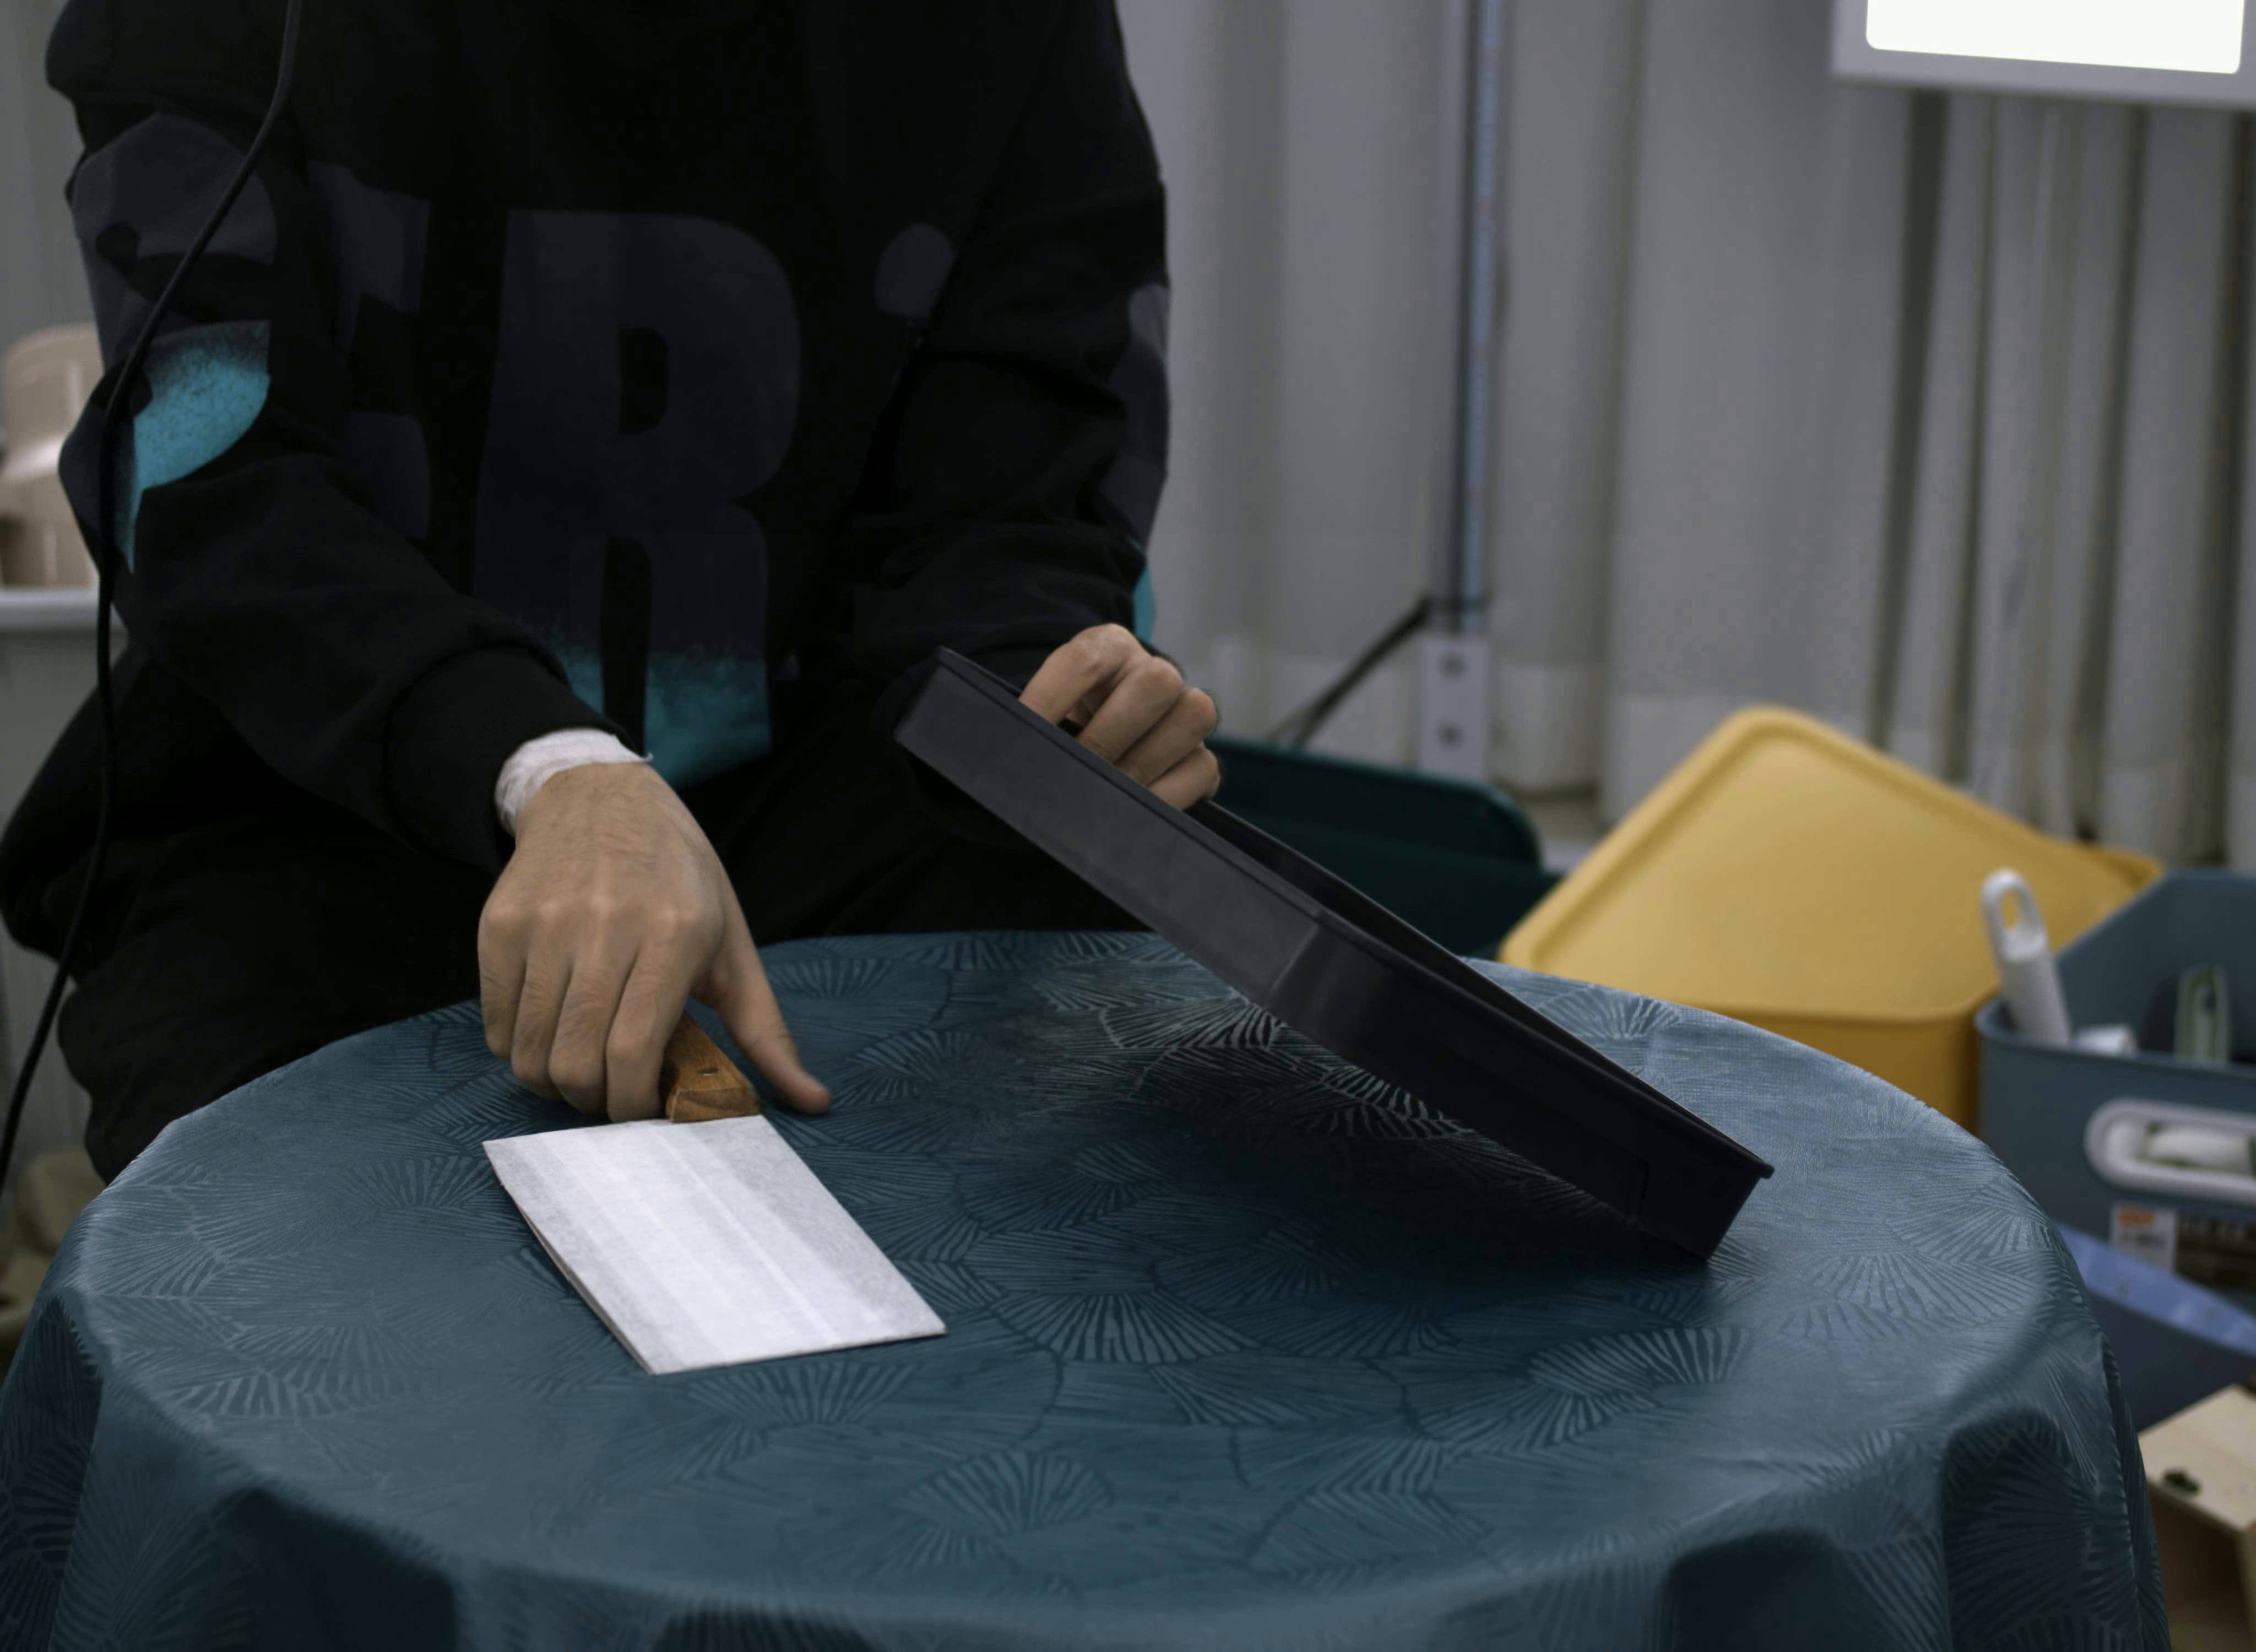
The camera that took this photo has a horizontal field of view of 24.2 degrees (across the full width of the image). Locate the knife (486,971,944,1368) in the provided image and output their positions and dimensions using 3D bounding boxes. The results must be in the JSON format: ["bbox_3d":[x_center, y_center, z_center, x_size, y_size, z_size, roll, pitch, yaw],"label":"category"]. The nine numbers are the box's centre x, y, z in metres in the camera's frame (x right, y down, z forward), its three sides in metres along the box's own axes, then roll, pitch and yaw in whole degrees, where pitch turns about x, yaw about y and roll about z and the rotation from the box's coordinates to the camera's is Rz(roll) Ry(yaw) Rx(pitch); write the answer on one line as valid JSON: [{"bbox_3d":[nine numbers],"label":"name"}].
[{"bbox_3d":[-0.145,0.104,1.618,0.093,0.021,0.302,-7,20,-20],"label":"knife"}]

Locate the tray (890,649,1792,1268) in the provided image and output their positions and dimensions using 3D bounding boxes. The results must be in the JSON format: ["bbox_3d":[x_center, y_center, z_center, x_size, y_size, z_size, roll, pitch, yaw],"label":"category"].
[{"bbox_3d":[0.059,0.037,1.636,0.186,0.037,0.314,29,2,-33],"label":"tray"}]
